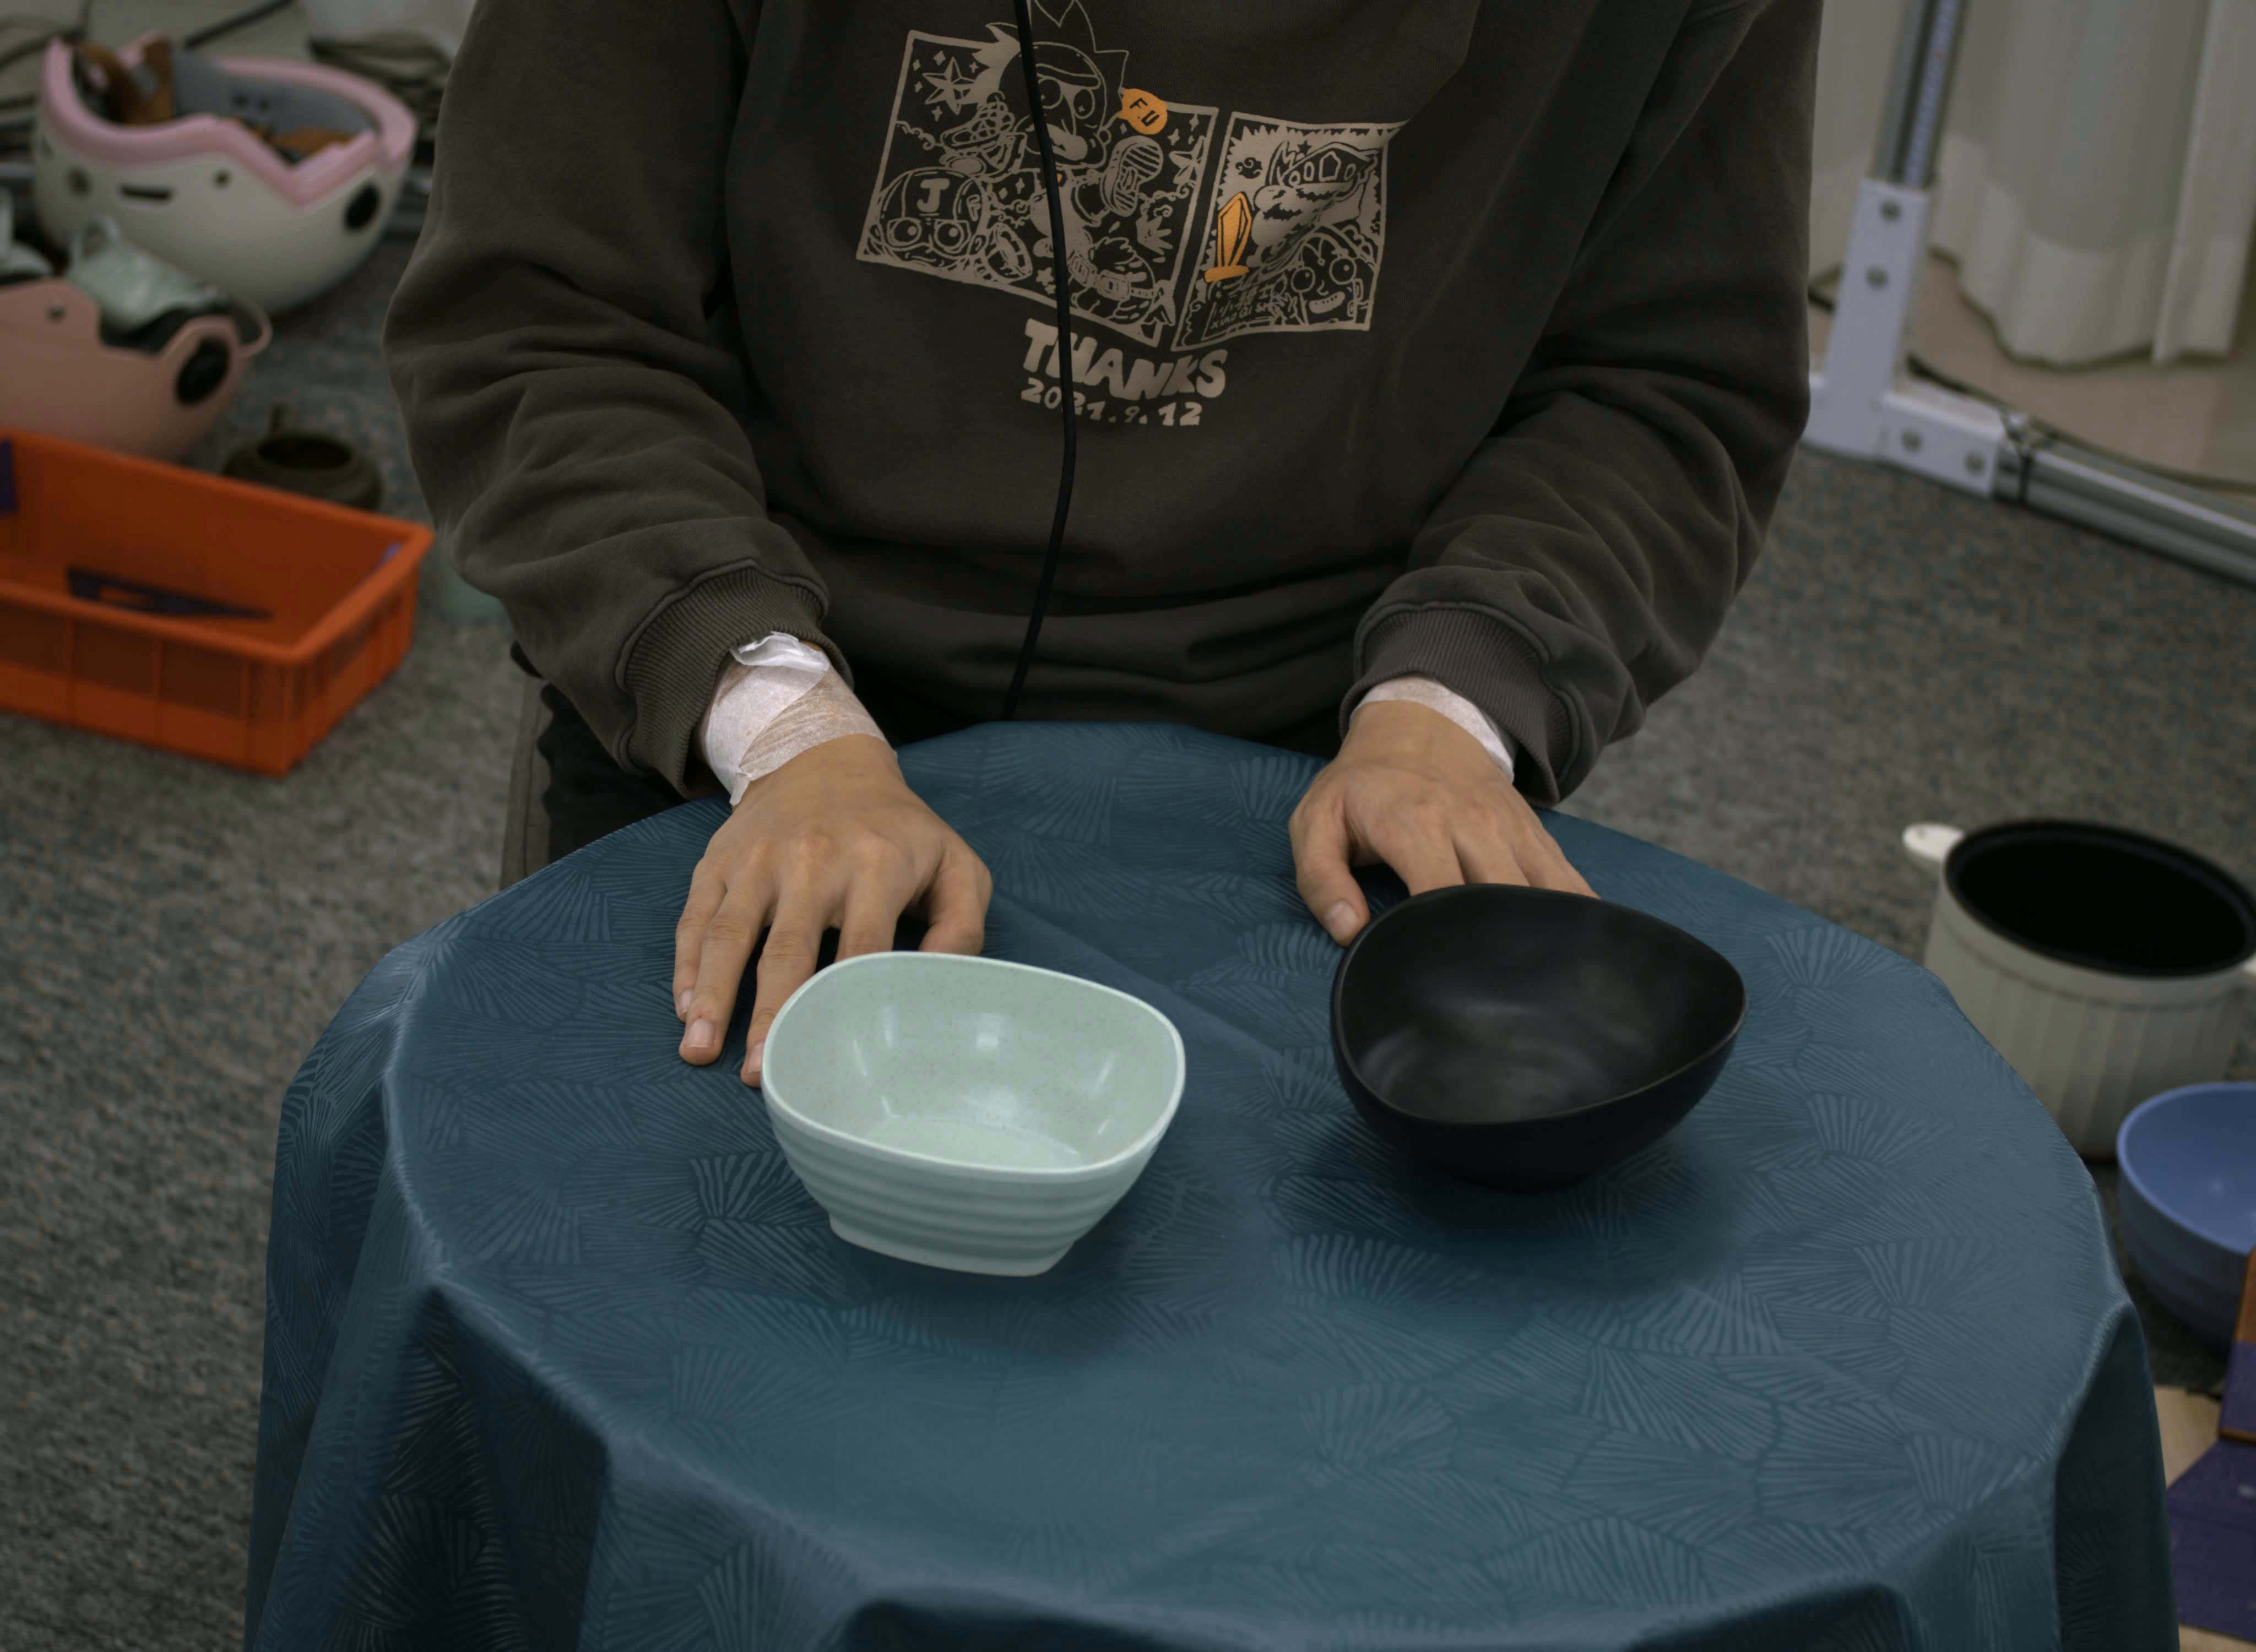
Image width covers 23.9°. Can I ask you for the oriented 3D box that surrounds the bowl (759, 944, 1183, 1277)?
[{"bbox_3d":[-0.055,0.101,1.773,0.151,0.058,0.152,7,27,-4],"label":"bowl"}]

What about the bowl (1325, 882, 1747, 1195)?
[{"bbox_3d":[0.138,0.084,1.845,0.138,0.066,0.170,21,31,27],"label":"bowl"}]
